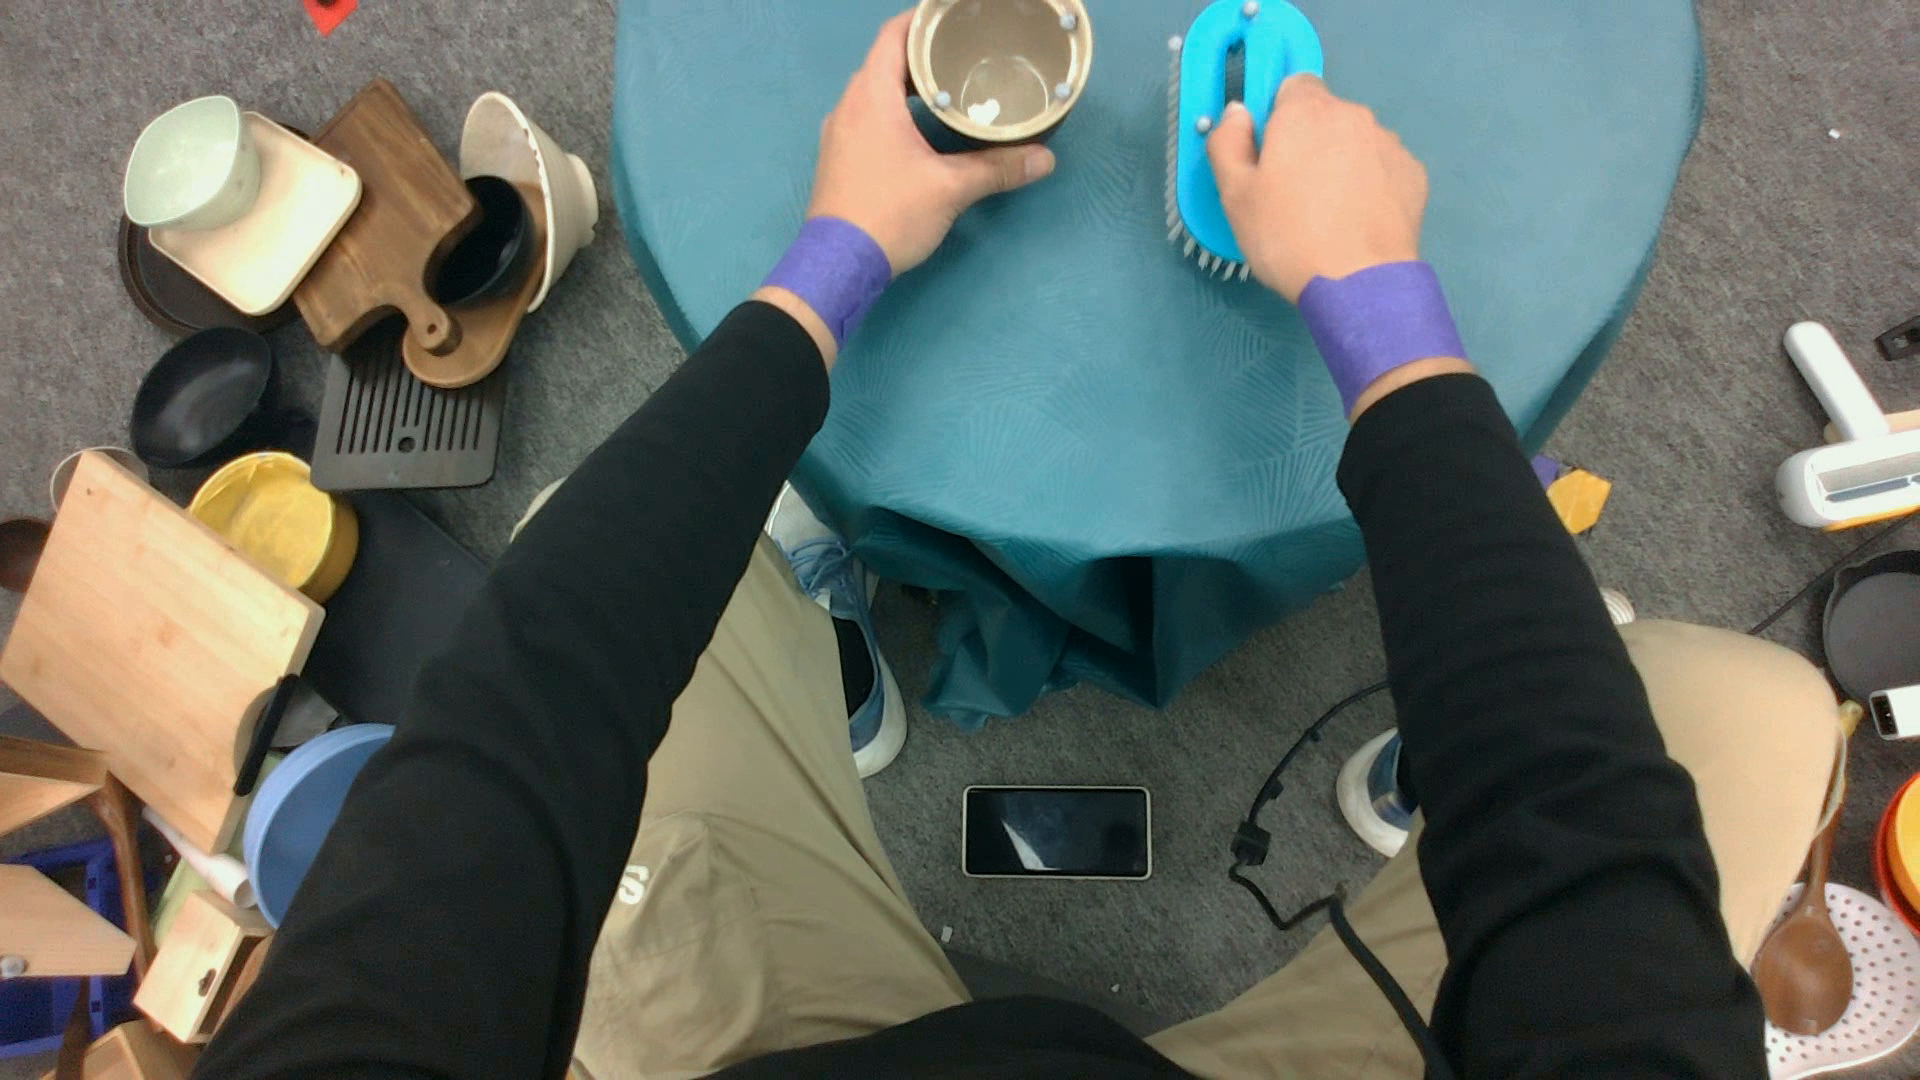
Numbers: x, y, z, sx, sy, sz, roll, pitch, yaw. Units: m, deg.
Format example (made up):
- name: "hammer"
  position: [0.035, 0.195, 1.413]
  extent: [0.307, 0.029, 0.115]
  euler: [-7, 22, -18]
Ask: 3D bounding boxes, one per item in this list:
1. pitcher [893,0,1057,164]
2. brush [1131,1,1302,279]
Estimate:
- name: "pitcher"
  position: [0.010, -0.244, 0.730]
  extent: [0.083, 0.071, 0.096]
  euler: [10, 82, 4]
- name: "brush"
  position: [0.135, -0.211, 0.710]
  extent: [0.084, 0.063, 0.142]
  euler: [3, 85, -4]
